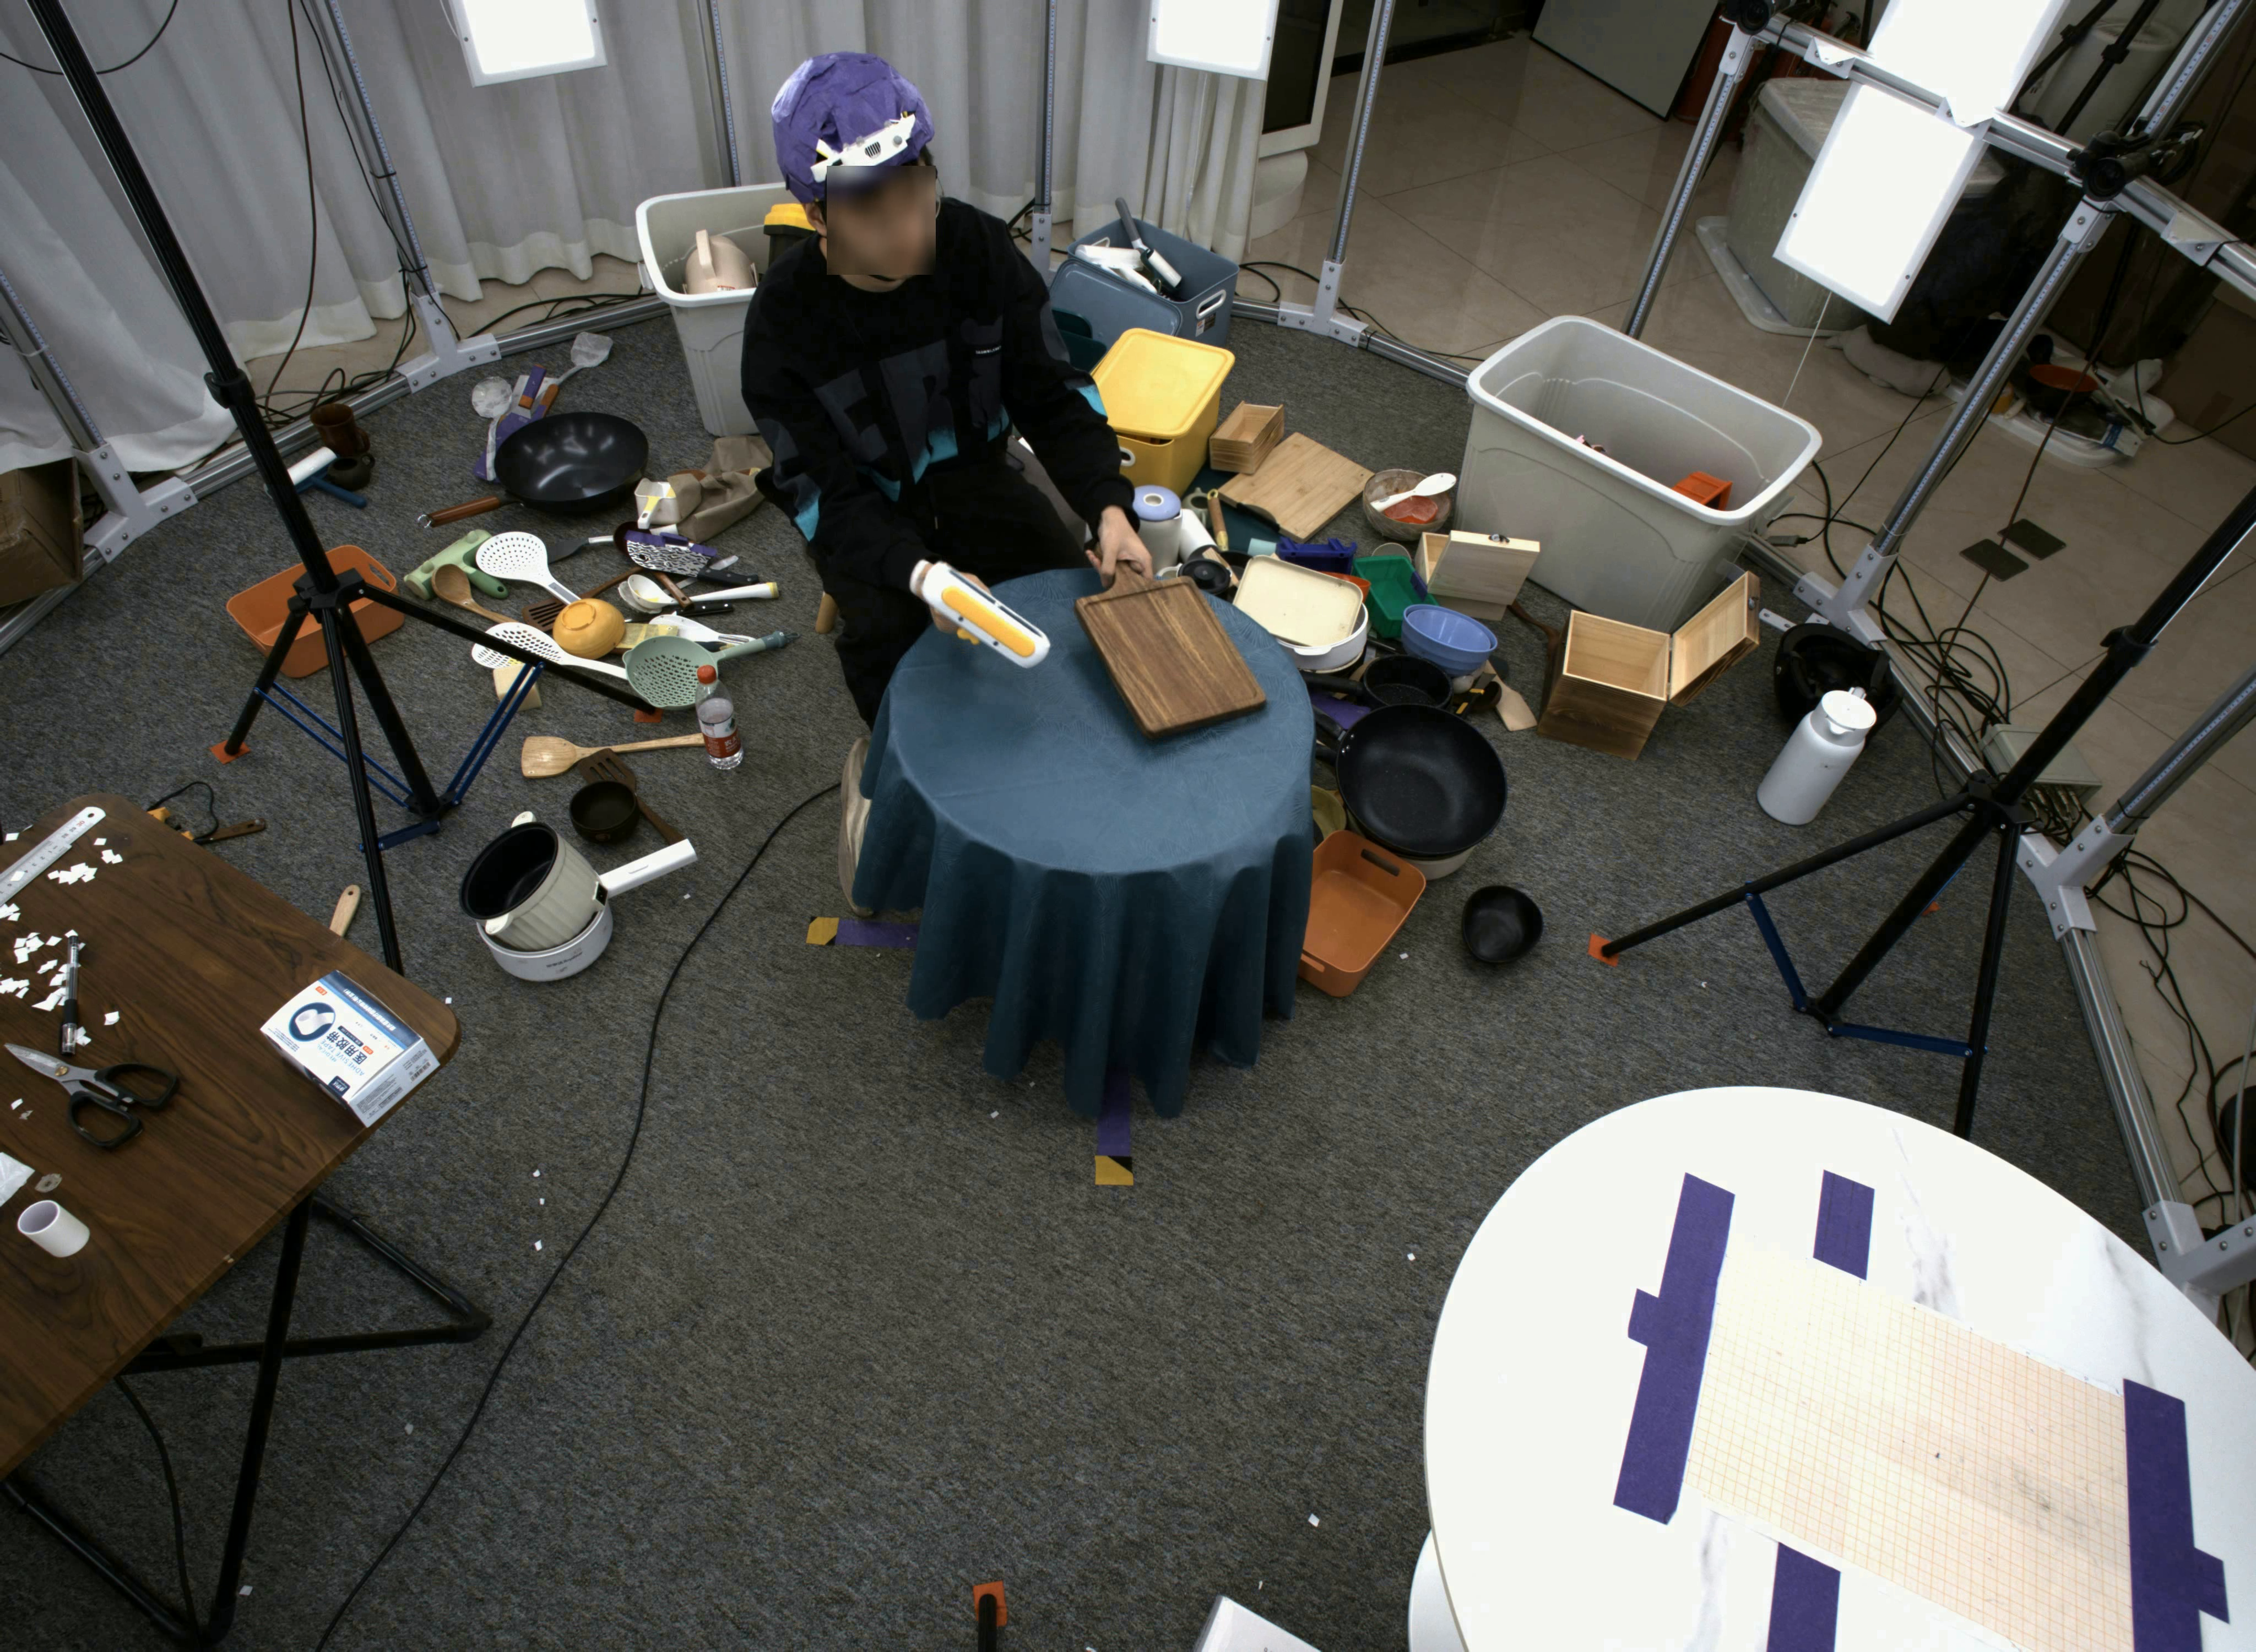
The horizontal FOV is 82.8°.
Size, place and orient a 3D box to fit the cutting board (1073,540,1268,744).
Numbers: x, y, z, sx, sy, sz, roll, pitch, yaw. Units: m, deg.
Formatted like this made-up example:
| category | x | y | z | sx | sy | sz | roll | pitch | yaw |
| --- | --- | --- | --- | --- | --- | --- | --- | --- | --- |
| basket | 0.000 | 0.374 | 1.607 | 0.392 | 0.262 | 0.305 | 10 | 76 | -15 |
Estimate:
| category | x | y | z | sx | sy | sz | roll | pitch | yaw |
| --- | --- | --- | --- | --- | --- | --- | --- | --- | --- |
| cutting board | 0.038 | -0.283 | 1.859 | 0.201 | 0.023 | 0.359 | -17 | 61 | -22 |

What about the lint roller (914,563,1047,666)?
| category | x | y | z | sx | sy | sz | roll | pitch | yaw |
| --- | --- | --- | --- | --- | --- | --- | --- | --- | --- |
| lint roller | -0.210 | -0.294 | 1.772 | 0.191 | 0.073 | 0.195 | 26 | 12 | -17 |
